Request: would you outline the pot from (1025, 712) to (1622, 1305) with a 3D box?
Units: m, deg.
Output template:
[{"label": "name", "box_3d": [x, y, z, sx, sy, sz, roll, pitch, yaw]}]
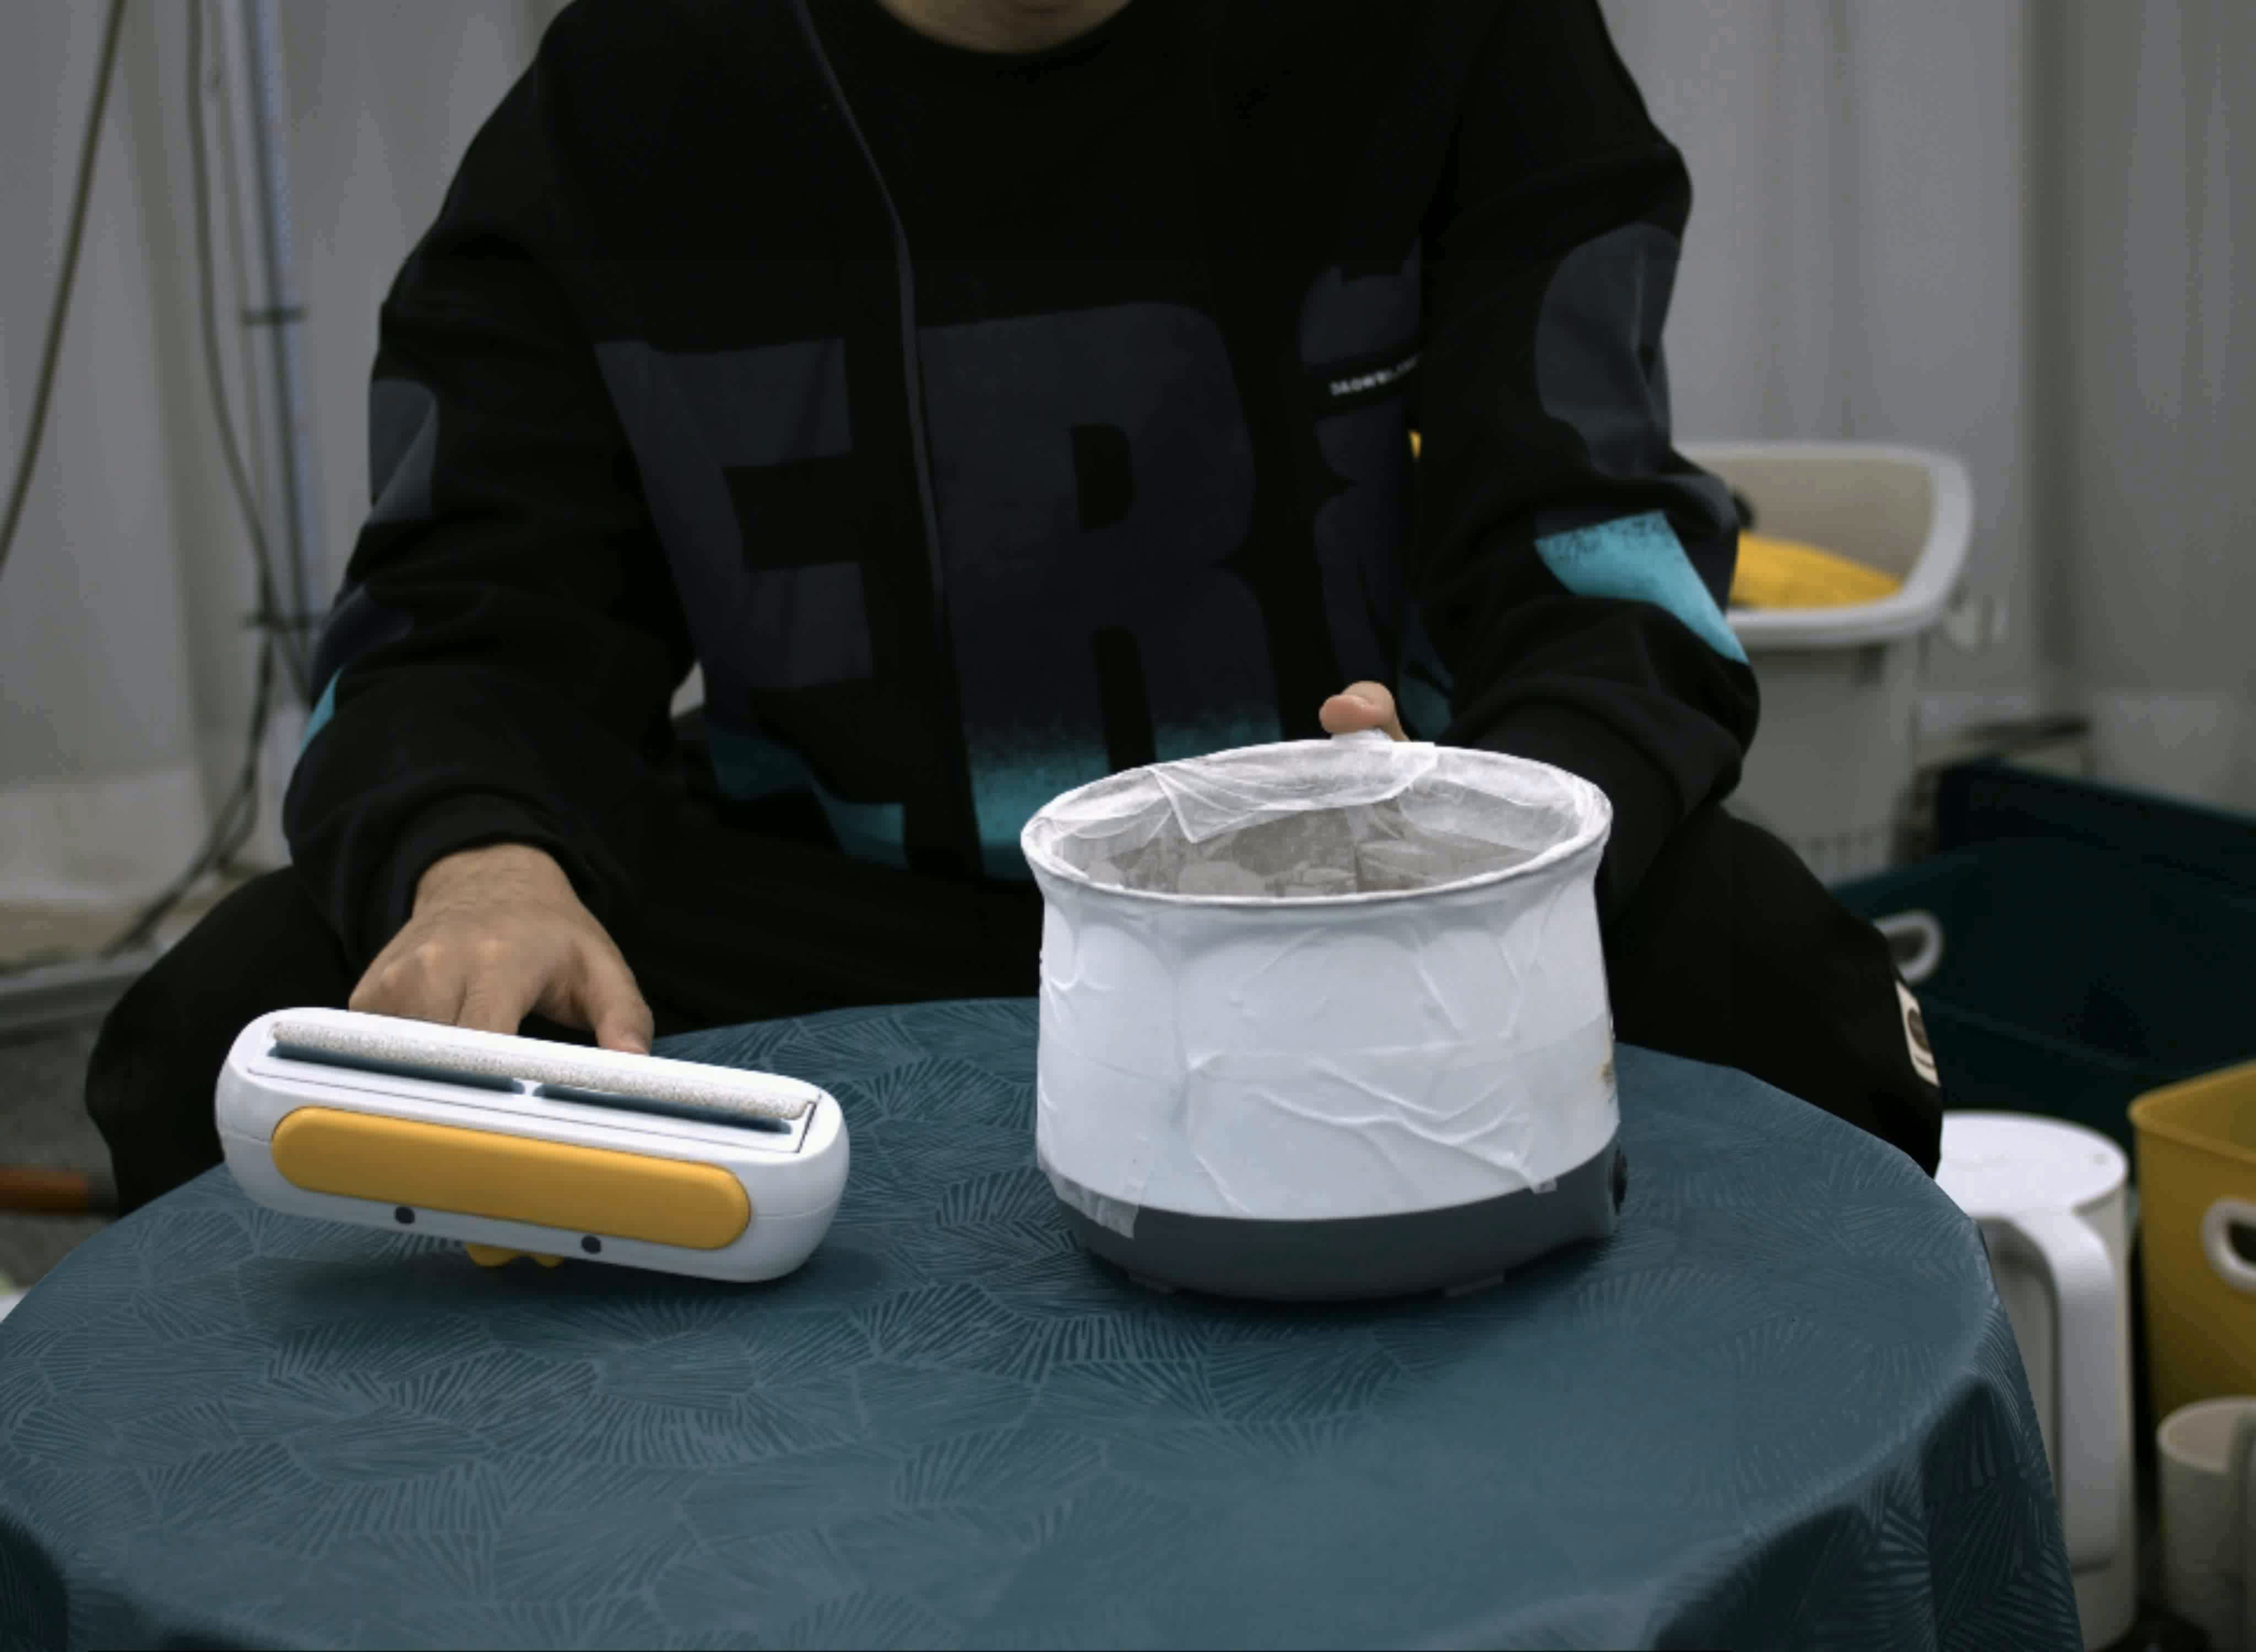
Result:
[{"label": "pot", "box_3d": [0.063, 0.050, 1.673, 0.178, 0.136, 0.235, 1, 16, 9]}]

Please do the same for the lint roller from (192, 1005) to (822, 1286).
[{"label": "lint roller", "box_3d": [-0.179, 0.089, 1.717, 0.192, 0.074, 0.193, 5, 14, 9]}]
